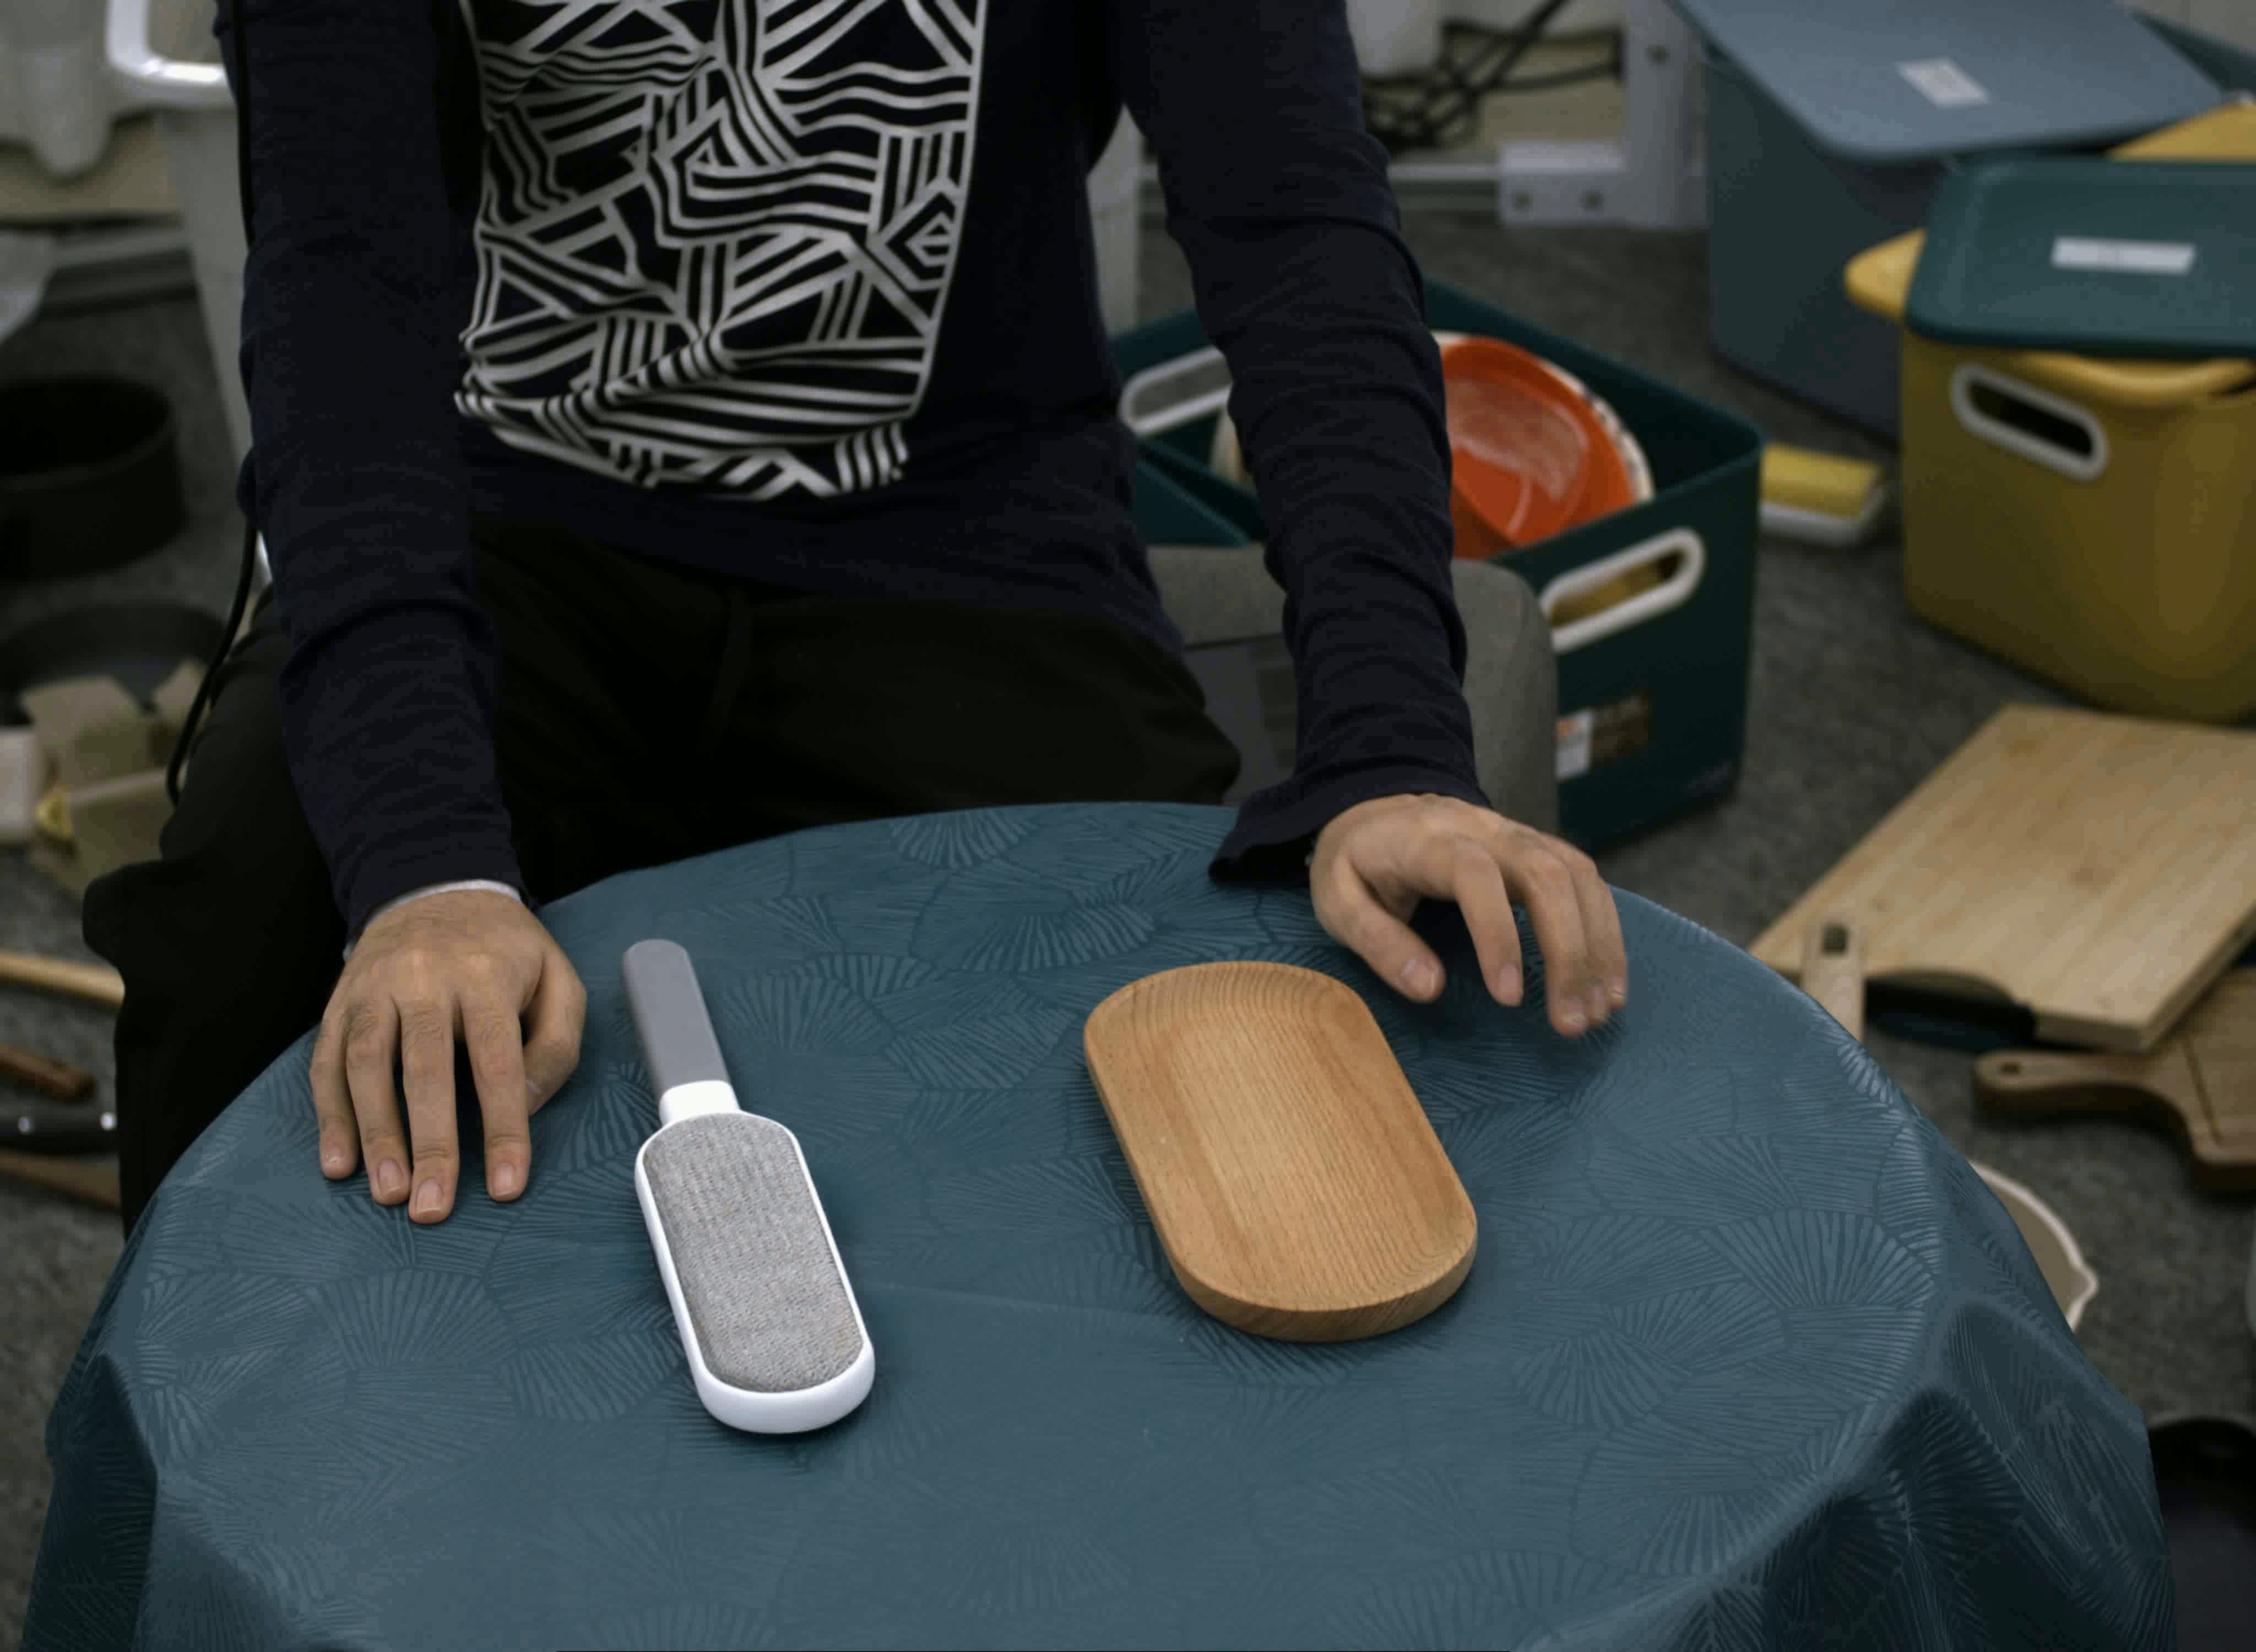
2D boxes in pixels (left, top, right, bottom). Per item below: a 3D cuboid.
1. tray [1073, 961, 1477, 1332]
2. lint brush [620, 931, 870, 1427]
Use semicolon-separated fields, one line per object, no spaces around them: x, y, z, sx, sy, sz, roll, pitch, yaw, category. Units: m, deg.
0.047;0.104;1.874;0.101;0.020;0.233;-7;26;-12;tray
-0.135;0.112;1.864;0.060;0.021;0.312;-13;28;-8;lint brush
